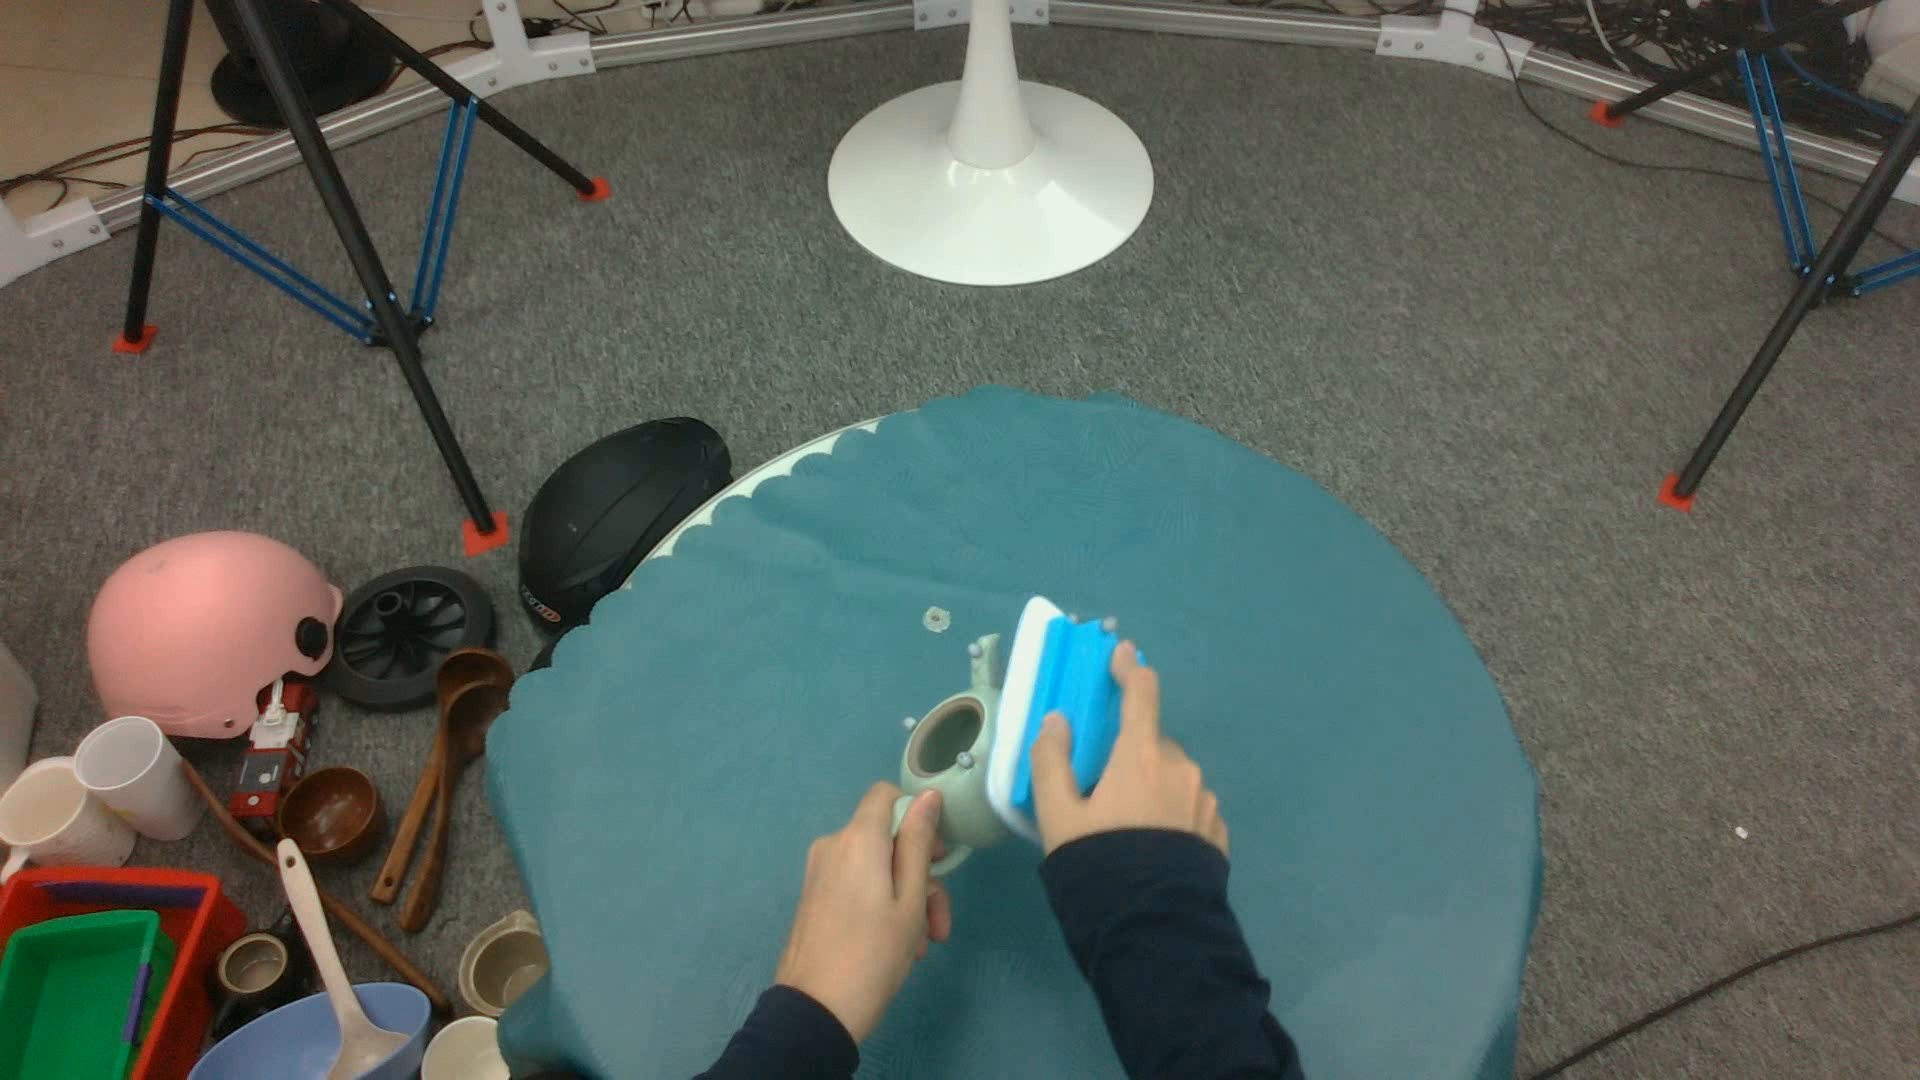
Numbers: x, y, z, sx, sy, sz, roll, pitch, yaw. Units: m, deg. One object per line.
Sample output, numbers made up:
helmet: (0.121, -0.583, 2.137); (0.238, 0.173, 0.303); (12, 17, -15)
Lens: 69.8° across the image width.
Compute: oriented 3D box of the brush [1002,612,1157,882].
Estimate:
brush: (0.073, 0.102, 0.726); (0.055, 0.084, 0.145); (-29, 30, 37)

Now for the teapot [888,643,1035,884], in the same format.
teapot: (0.015, 0.130, 0.755); (0.088, 0.074, 0.144); (-11, 37, 48)
